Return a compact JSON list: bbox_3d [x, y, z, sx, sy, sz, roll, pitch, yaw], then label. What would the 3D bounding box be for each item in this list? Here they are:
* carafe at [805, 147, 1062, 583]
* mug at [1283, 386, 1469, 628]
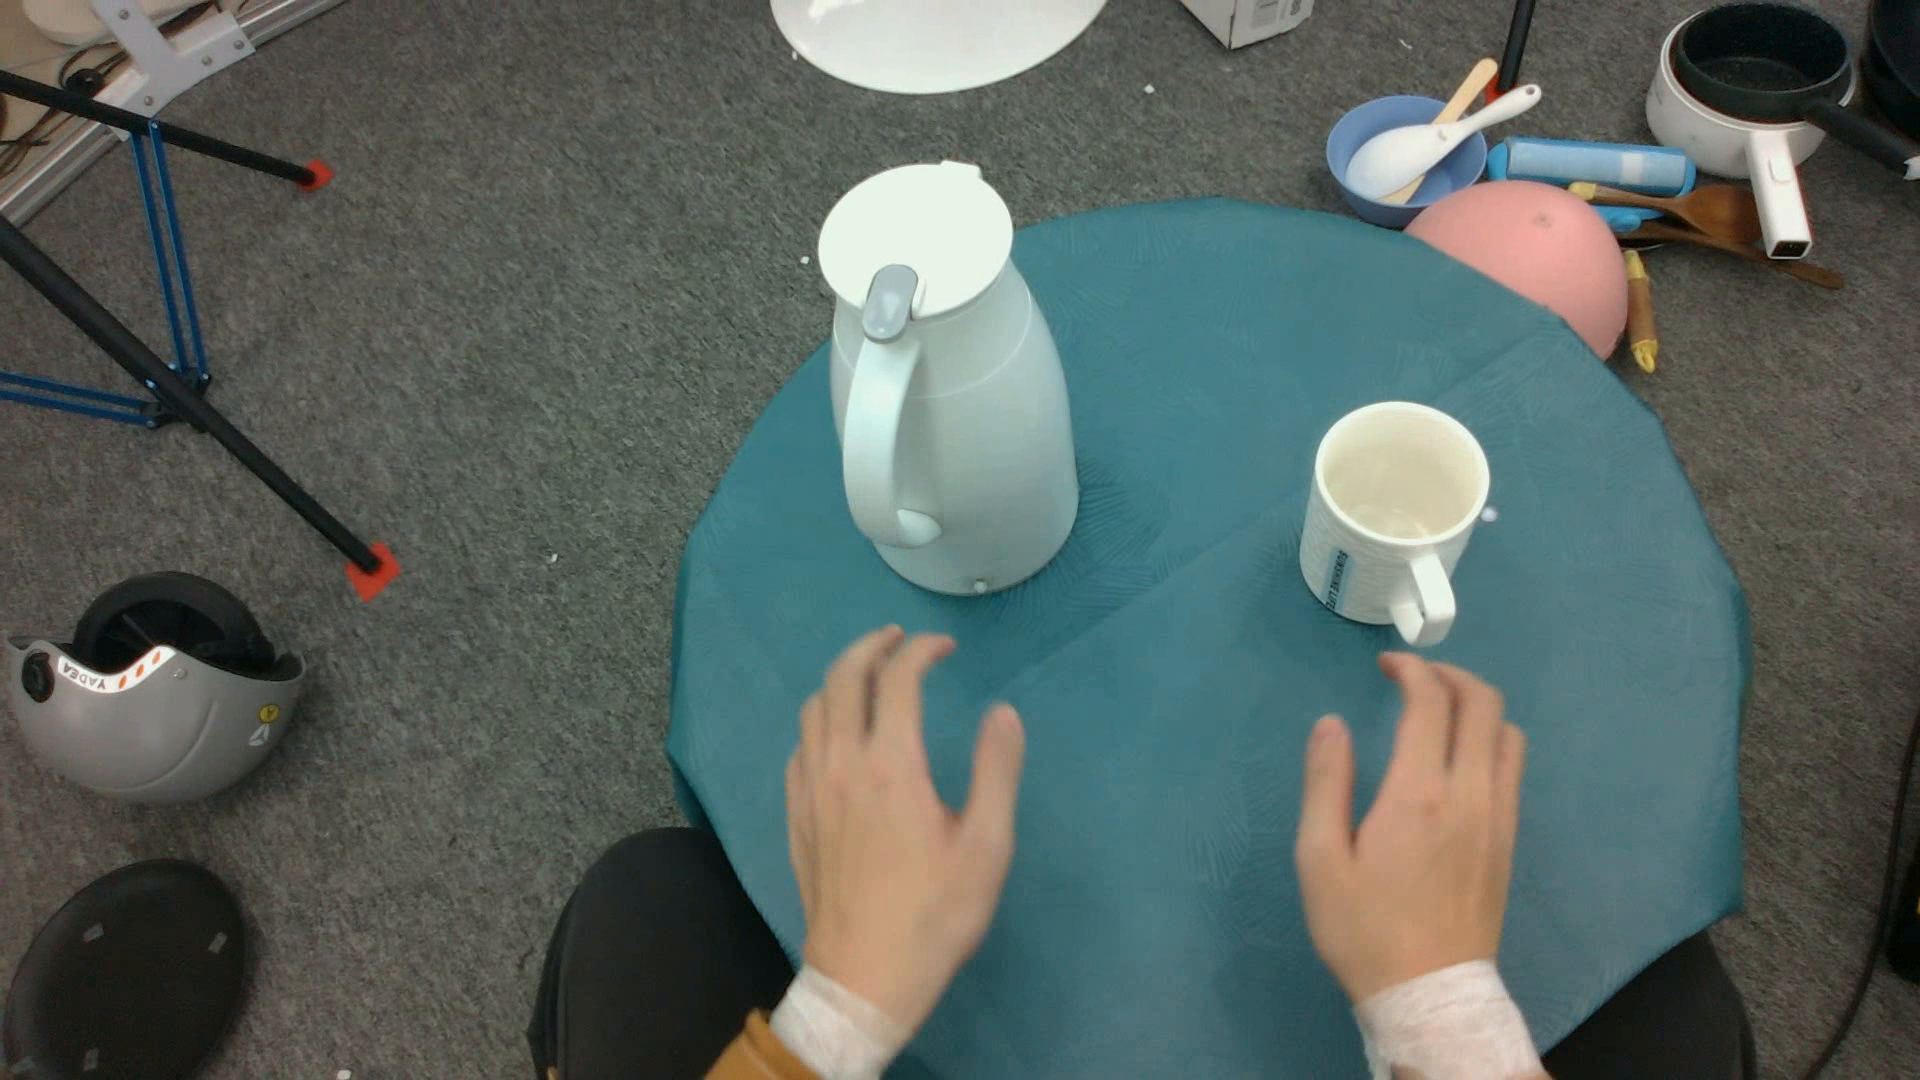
[{"bbox_3d":[-0.020,-0.074,0.729,0.132,0.247,0.168,12,64,12],"label":"carafe"},{"bbox_3d":[0.227,-0.007,0.746,0.085,0.101,0.118,-13,60,-1],"label":"mug"}]
